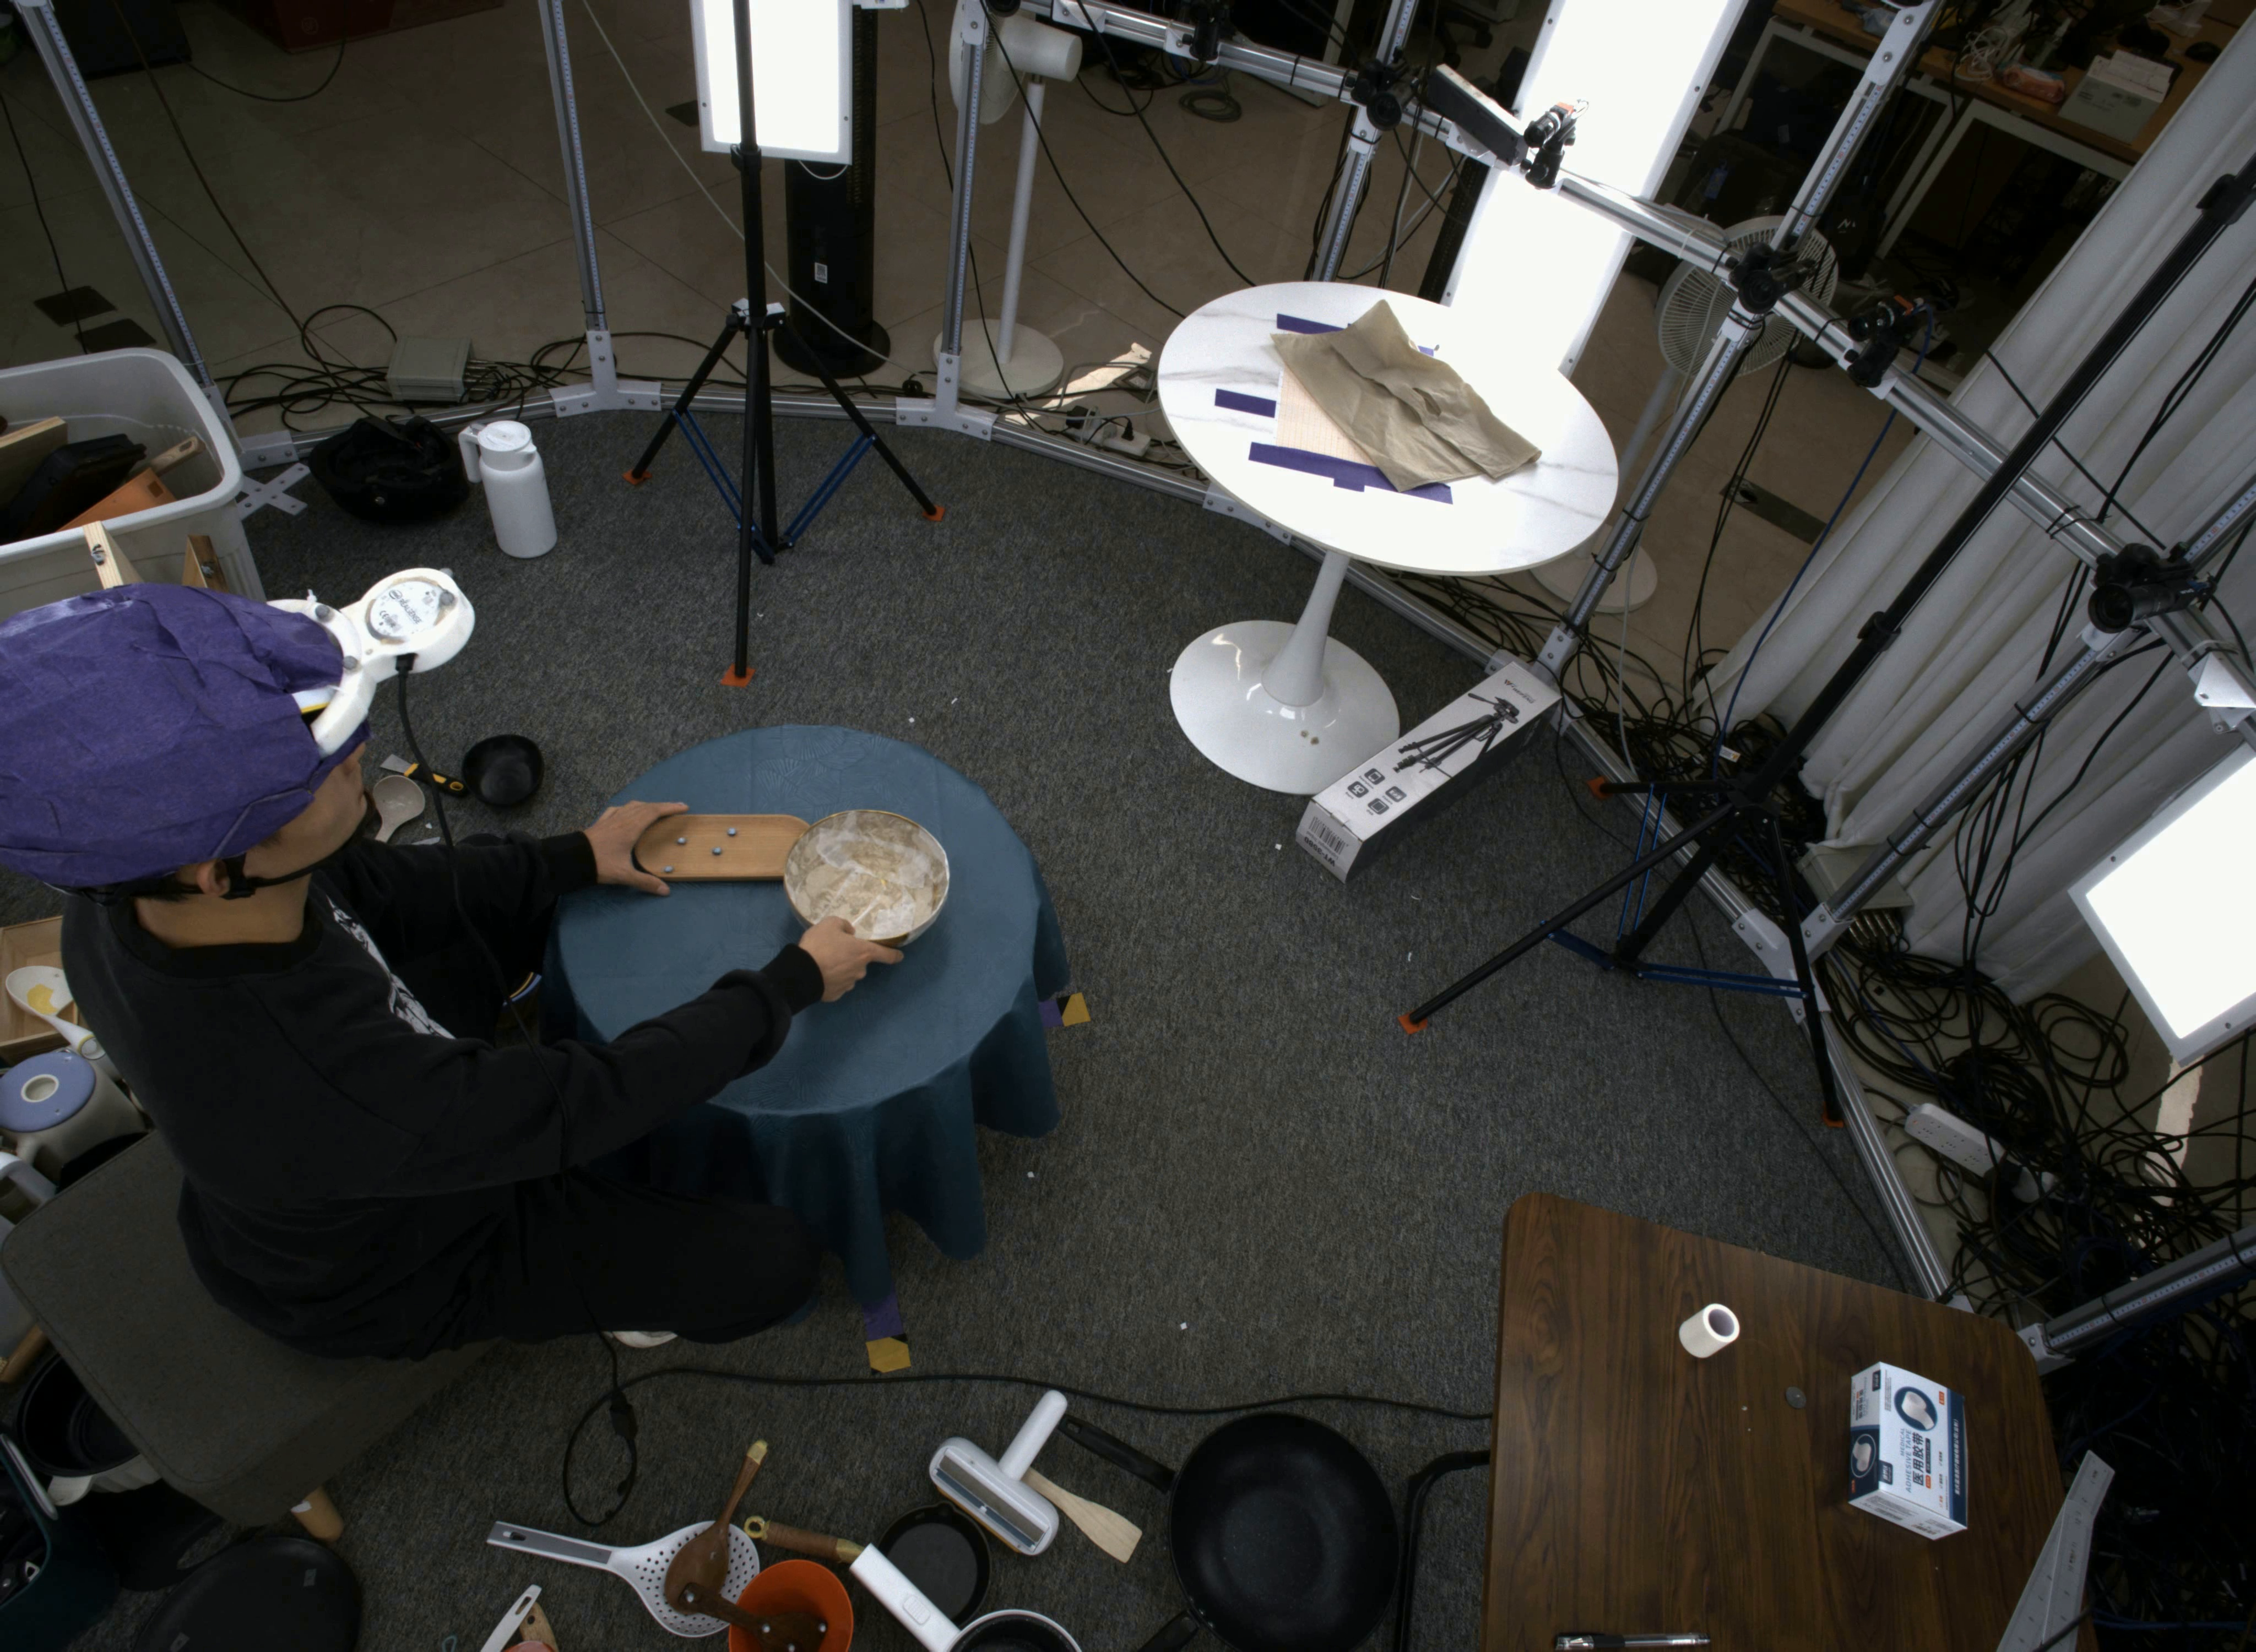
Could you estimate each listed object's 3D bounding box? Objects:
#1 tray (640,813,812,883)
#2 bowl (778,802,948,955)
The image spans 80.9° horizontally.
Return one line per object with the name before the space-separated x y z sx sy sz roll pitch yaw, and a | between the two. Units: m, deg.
tray | -0.515 0.027 1.676 0.232 0.020 0.099 0 56 -17
bowl | -0.332 0.080 1.634 0.214 0.096 0.211 8 53 -9
